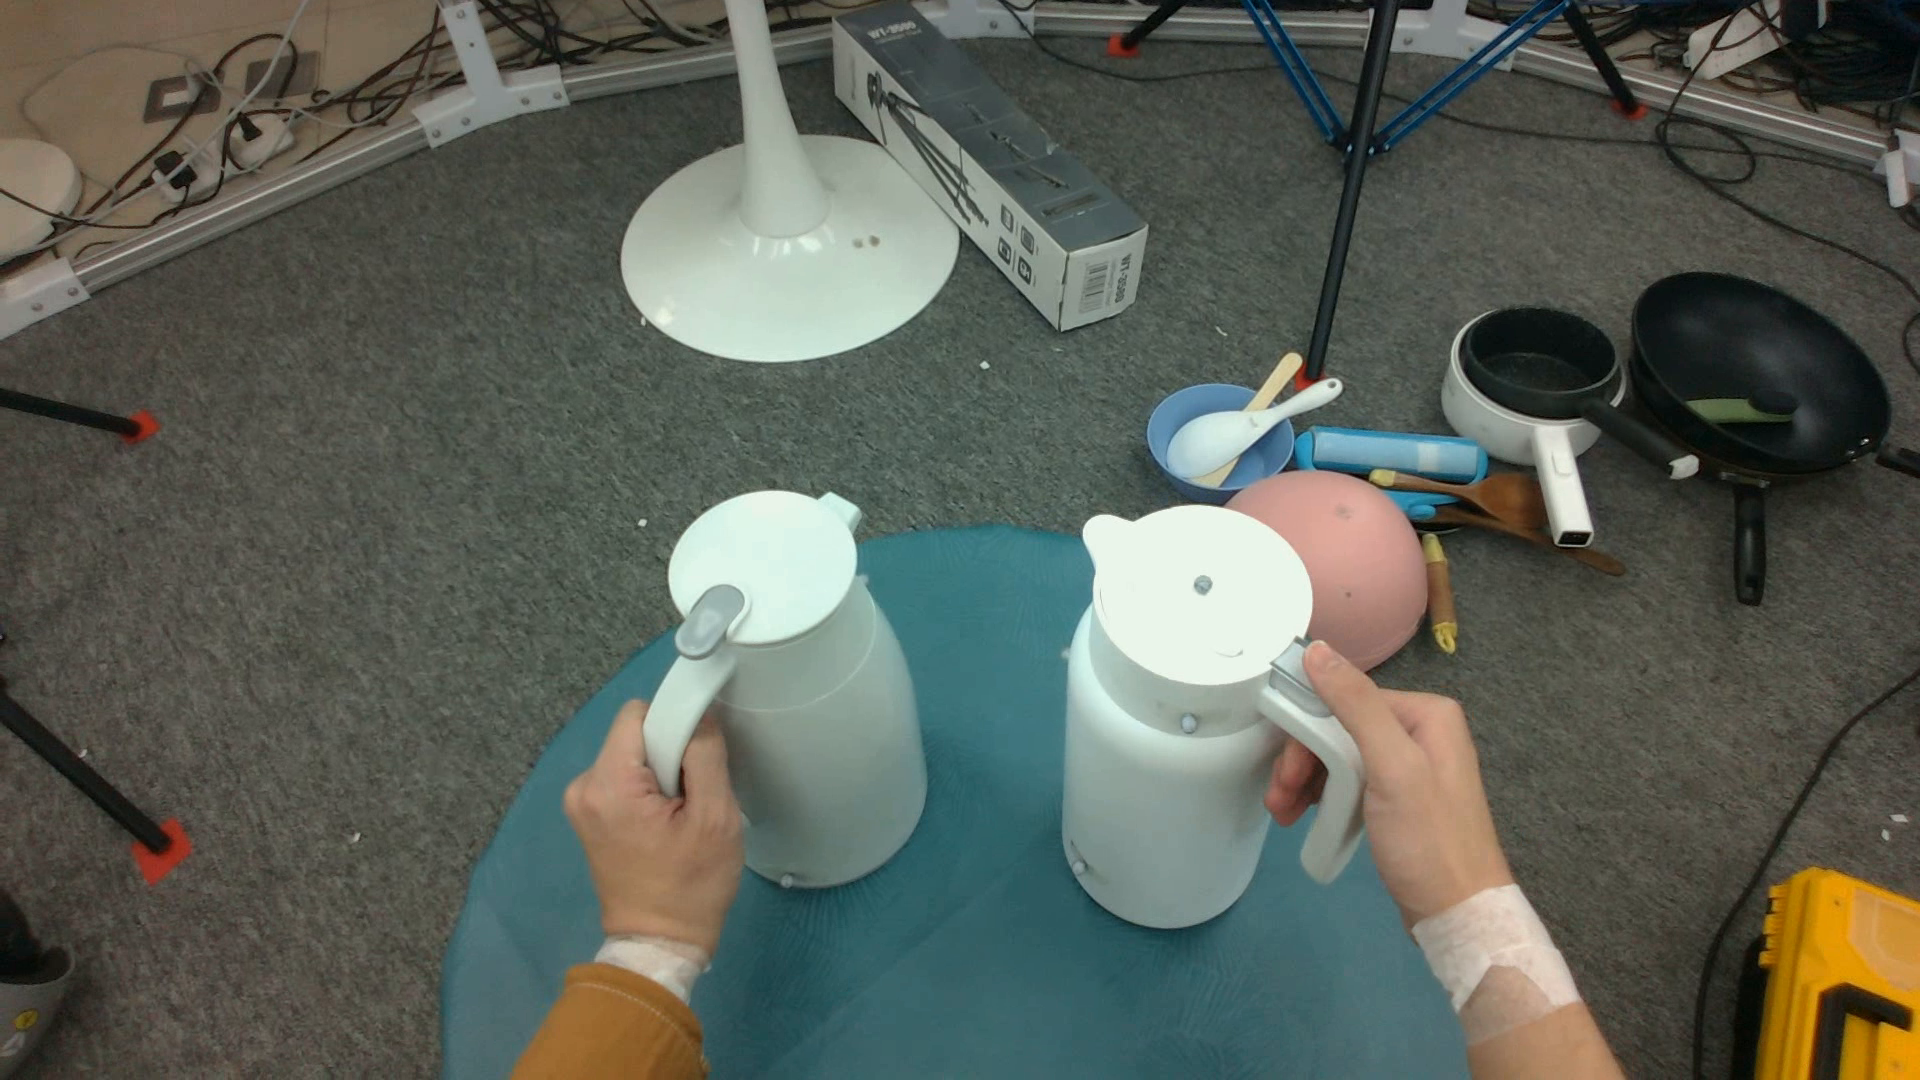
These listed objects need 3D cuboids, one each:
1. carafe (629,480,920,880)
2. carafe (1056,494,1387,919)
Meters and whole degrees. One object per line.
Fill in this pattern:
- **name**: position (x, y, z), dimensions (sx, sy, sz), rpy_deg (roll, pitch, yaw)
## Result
- **carafe**: position (-0.105, 0.089, 0.745), dimensions (0.132, 0.247, 0.168), rpy_deg (27, 59, 21)
- **carafe**: position (0.124, 0.104, 0.714), dimensions (0.173, 0.267, 0.124), rpy_deg (37, 61, 26)
